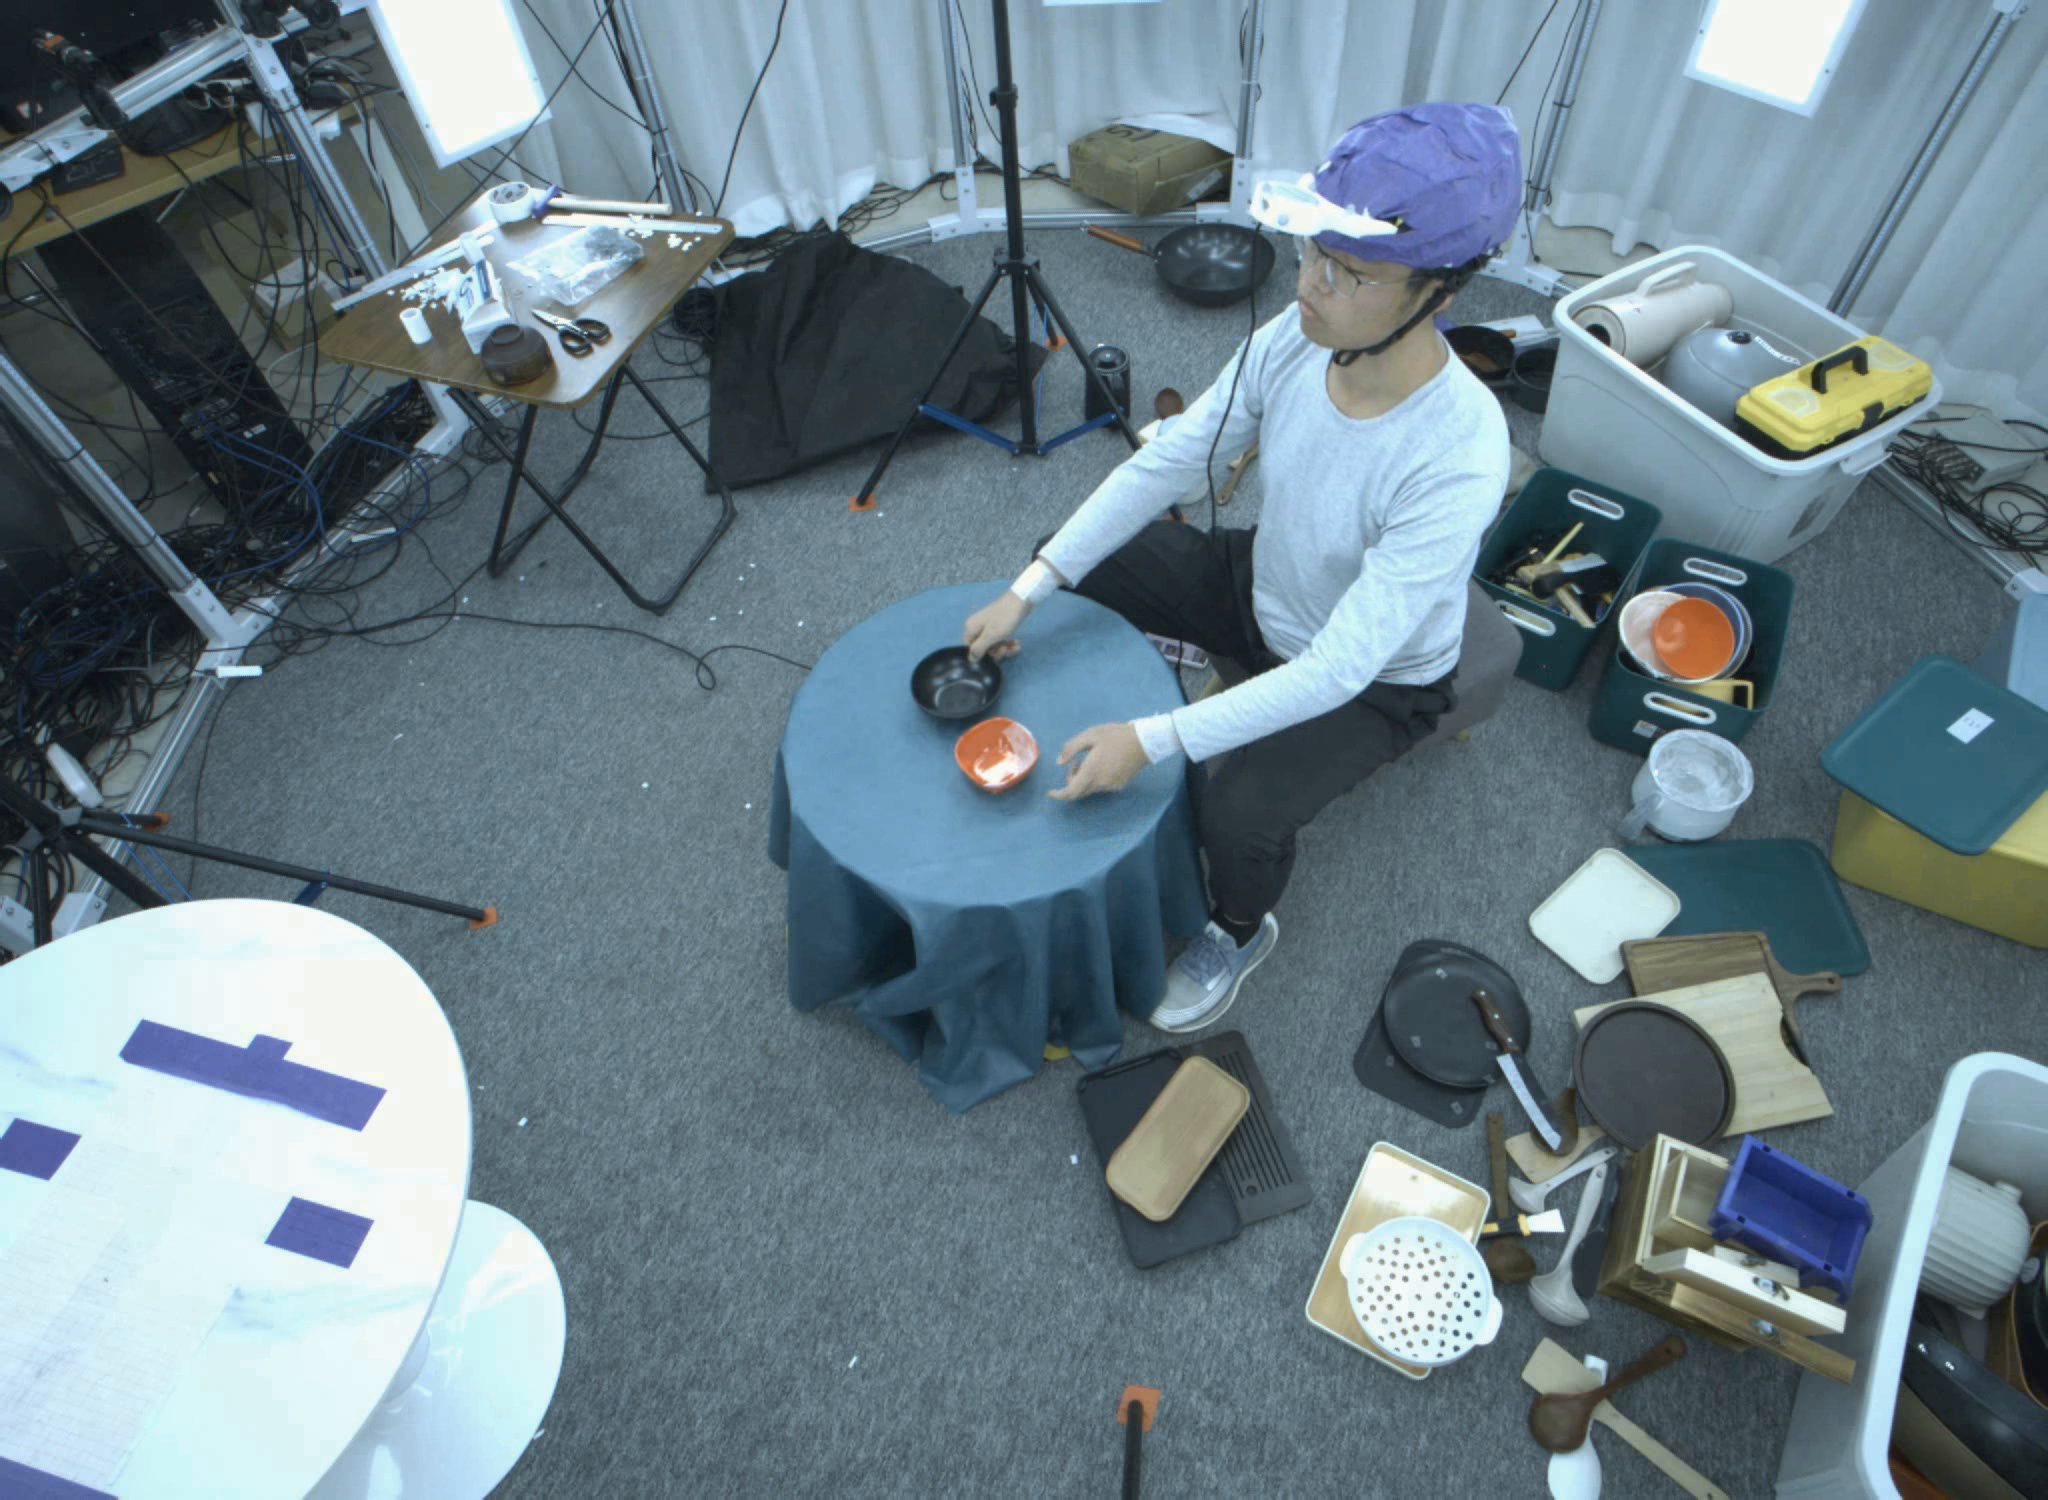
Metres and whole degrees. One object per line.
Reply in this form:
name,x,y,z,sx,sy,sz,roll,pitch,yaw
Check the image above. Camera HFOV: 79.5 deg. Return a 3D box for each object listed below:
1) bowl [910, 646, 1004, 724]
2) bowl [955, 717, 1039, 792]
bowl,-0.099,-0.088,1.832,0.140,0.050,0.138,1,54,-1
bowl,-0.036,0.014,1.753,0.118,0.052,0.117,-2,55,4
